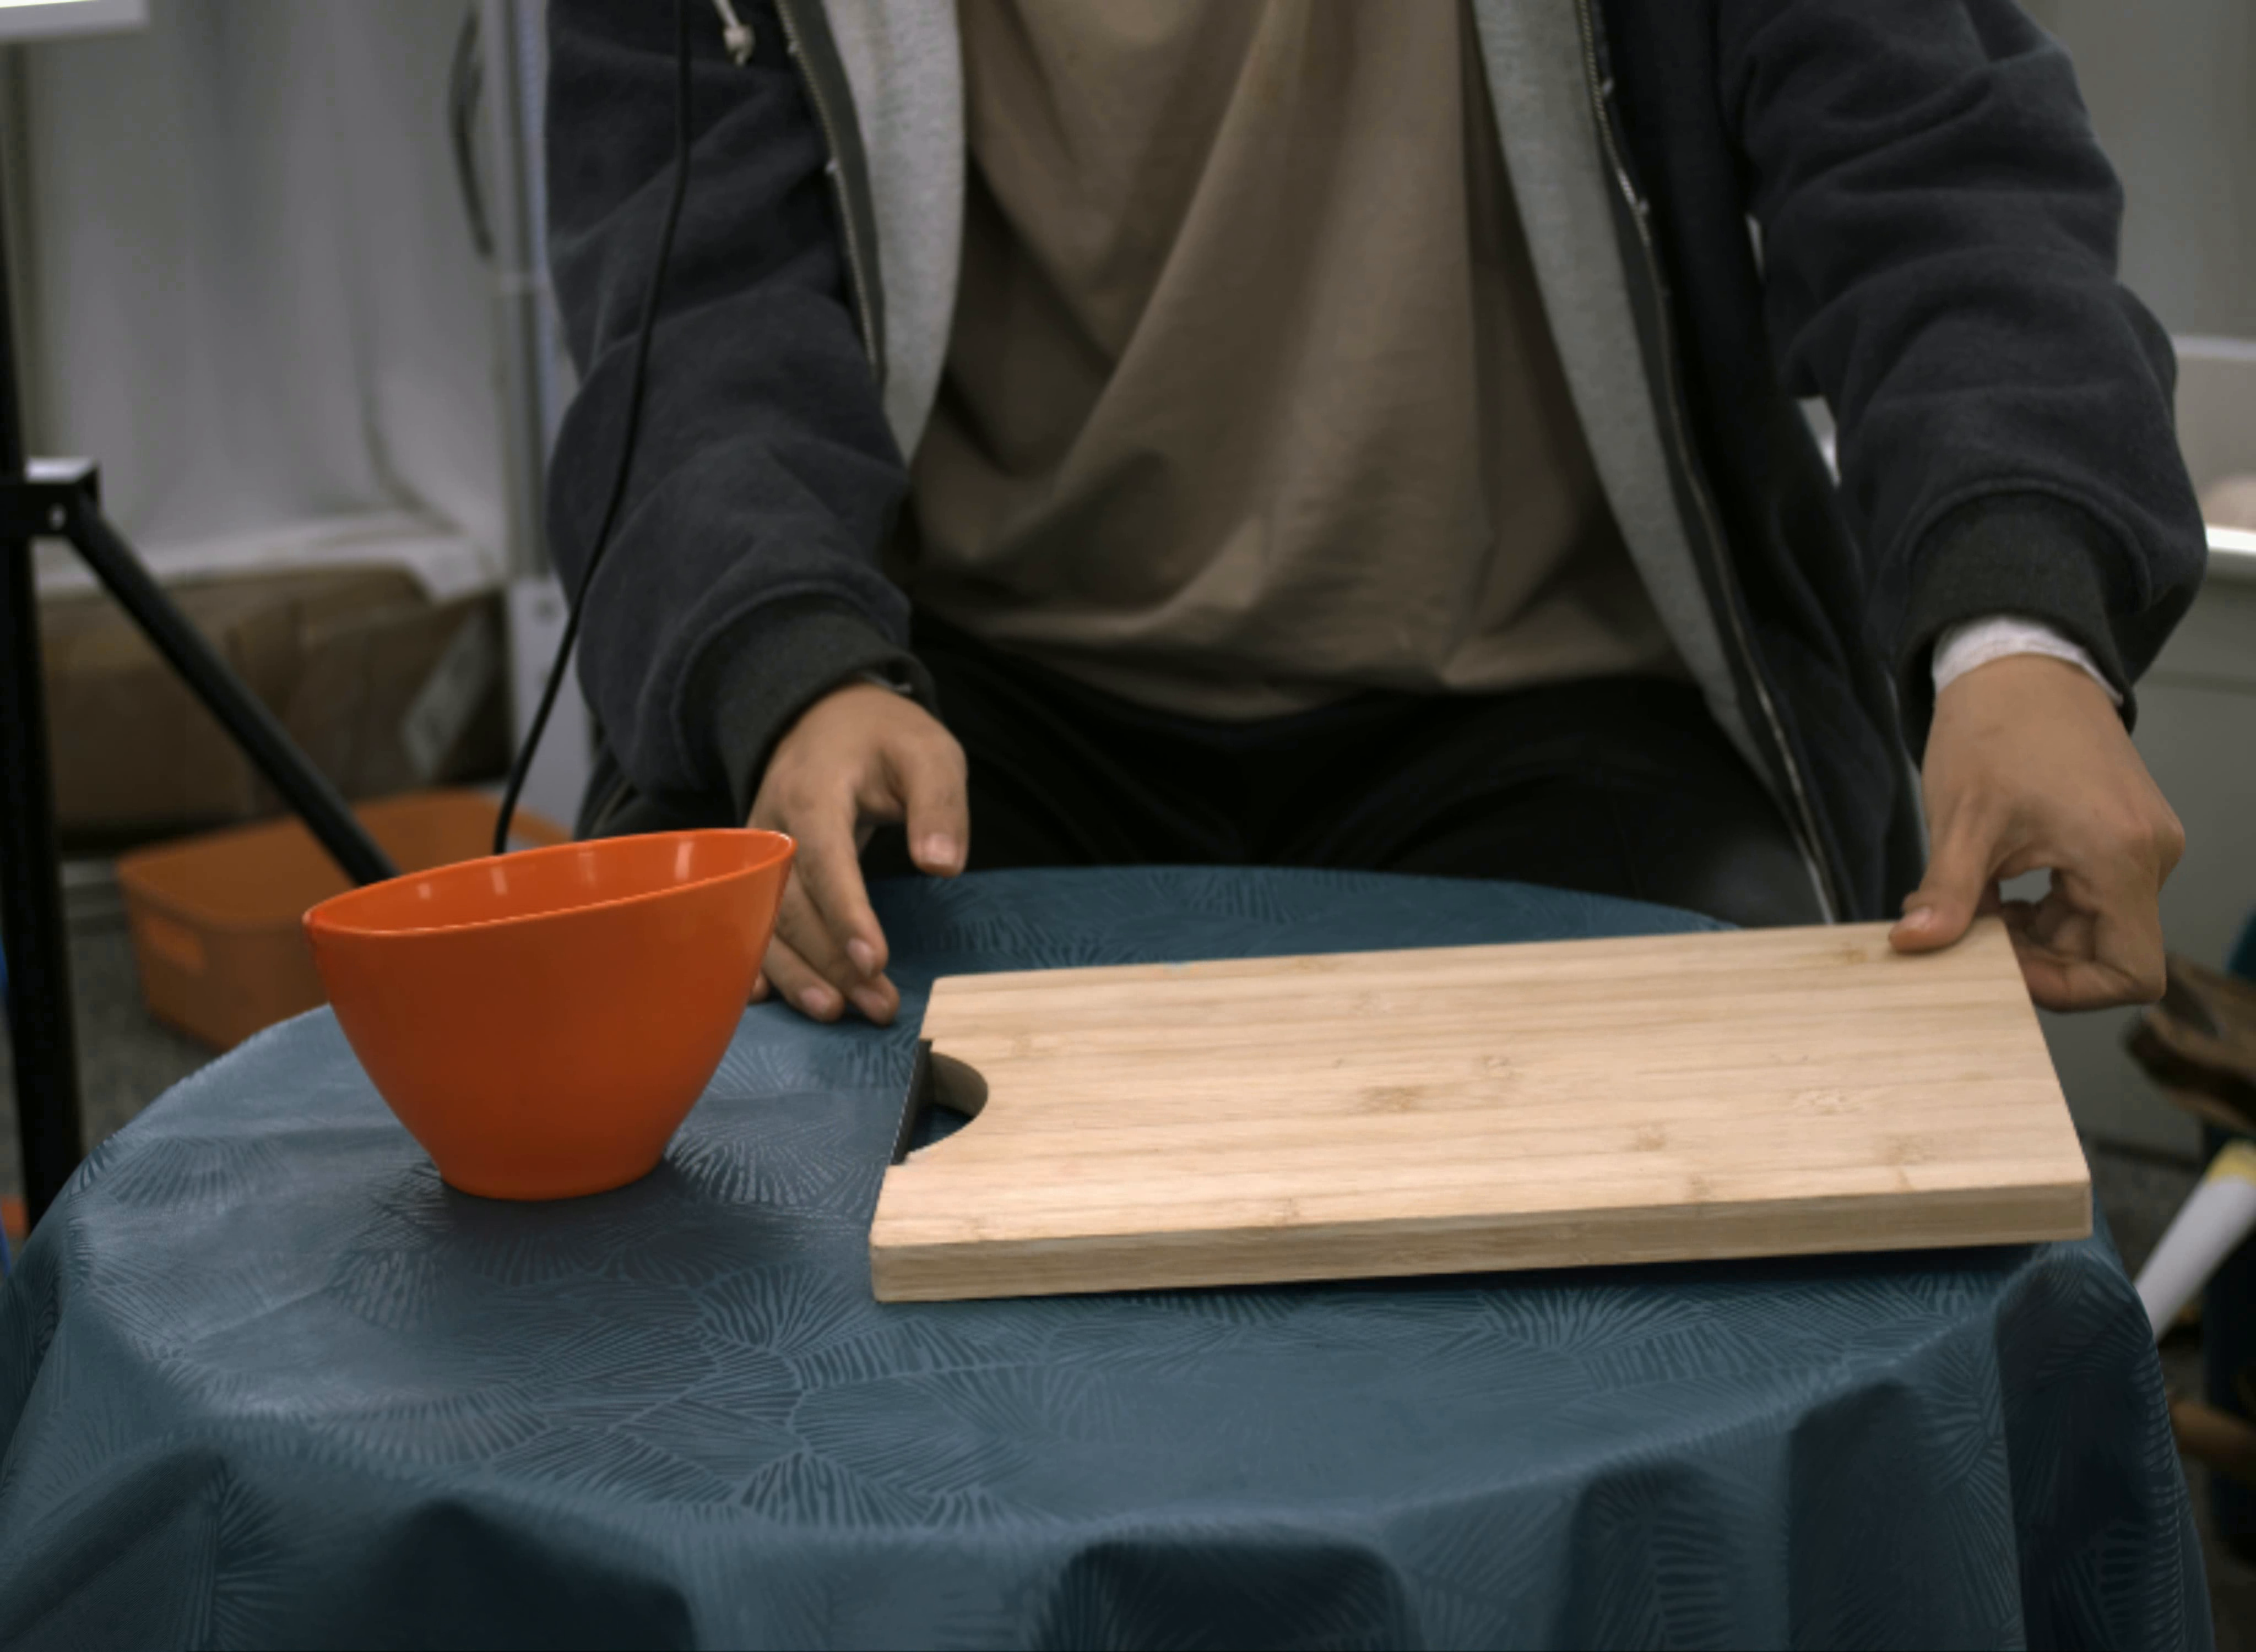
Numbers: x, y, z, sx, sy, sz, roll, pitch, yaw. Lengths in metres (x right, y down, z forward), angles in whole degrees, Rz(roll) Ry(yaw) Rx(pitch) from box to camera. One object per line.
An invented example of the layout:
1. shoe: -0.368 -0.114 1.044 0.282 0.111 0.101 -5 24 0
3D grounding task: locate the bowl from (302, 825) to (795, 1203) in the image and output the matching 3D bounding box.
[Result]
1. bowl: -0.169 0.056 1.588 0.147 0.104 0.149 -4 16 0

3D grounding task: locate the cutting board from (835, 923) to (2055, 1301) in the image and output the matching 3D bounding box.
1. cutting board: 0.096 0.084 1.578 0.348 0.023 0.251 -3 16 5
